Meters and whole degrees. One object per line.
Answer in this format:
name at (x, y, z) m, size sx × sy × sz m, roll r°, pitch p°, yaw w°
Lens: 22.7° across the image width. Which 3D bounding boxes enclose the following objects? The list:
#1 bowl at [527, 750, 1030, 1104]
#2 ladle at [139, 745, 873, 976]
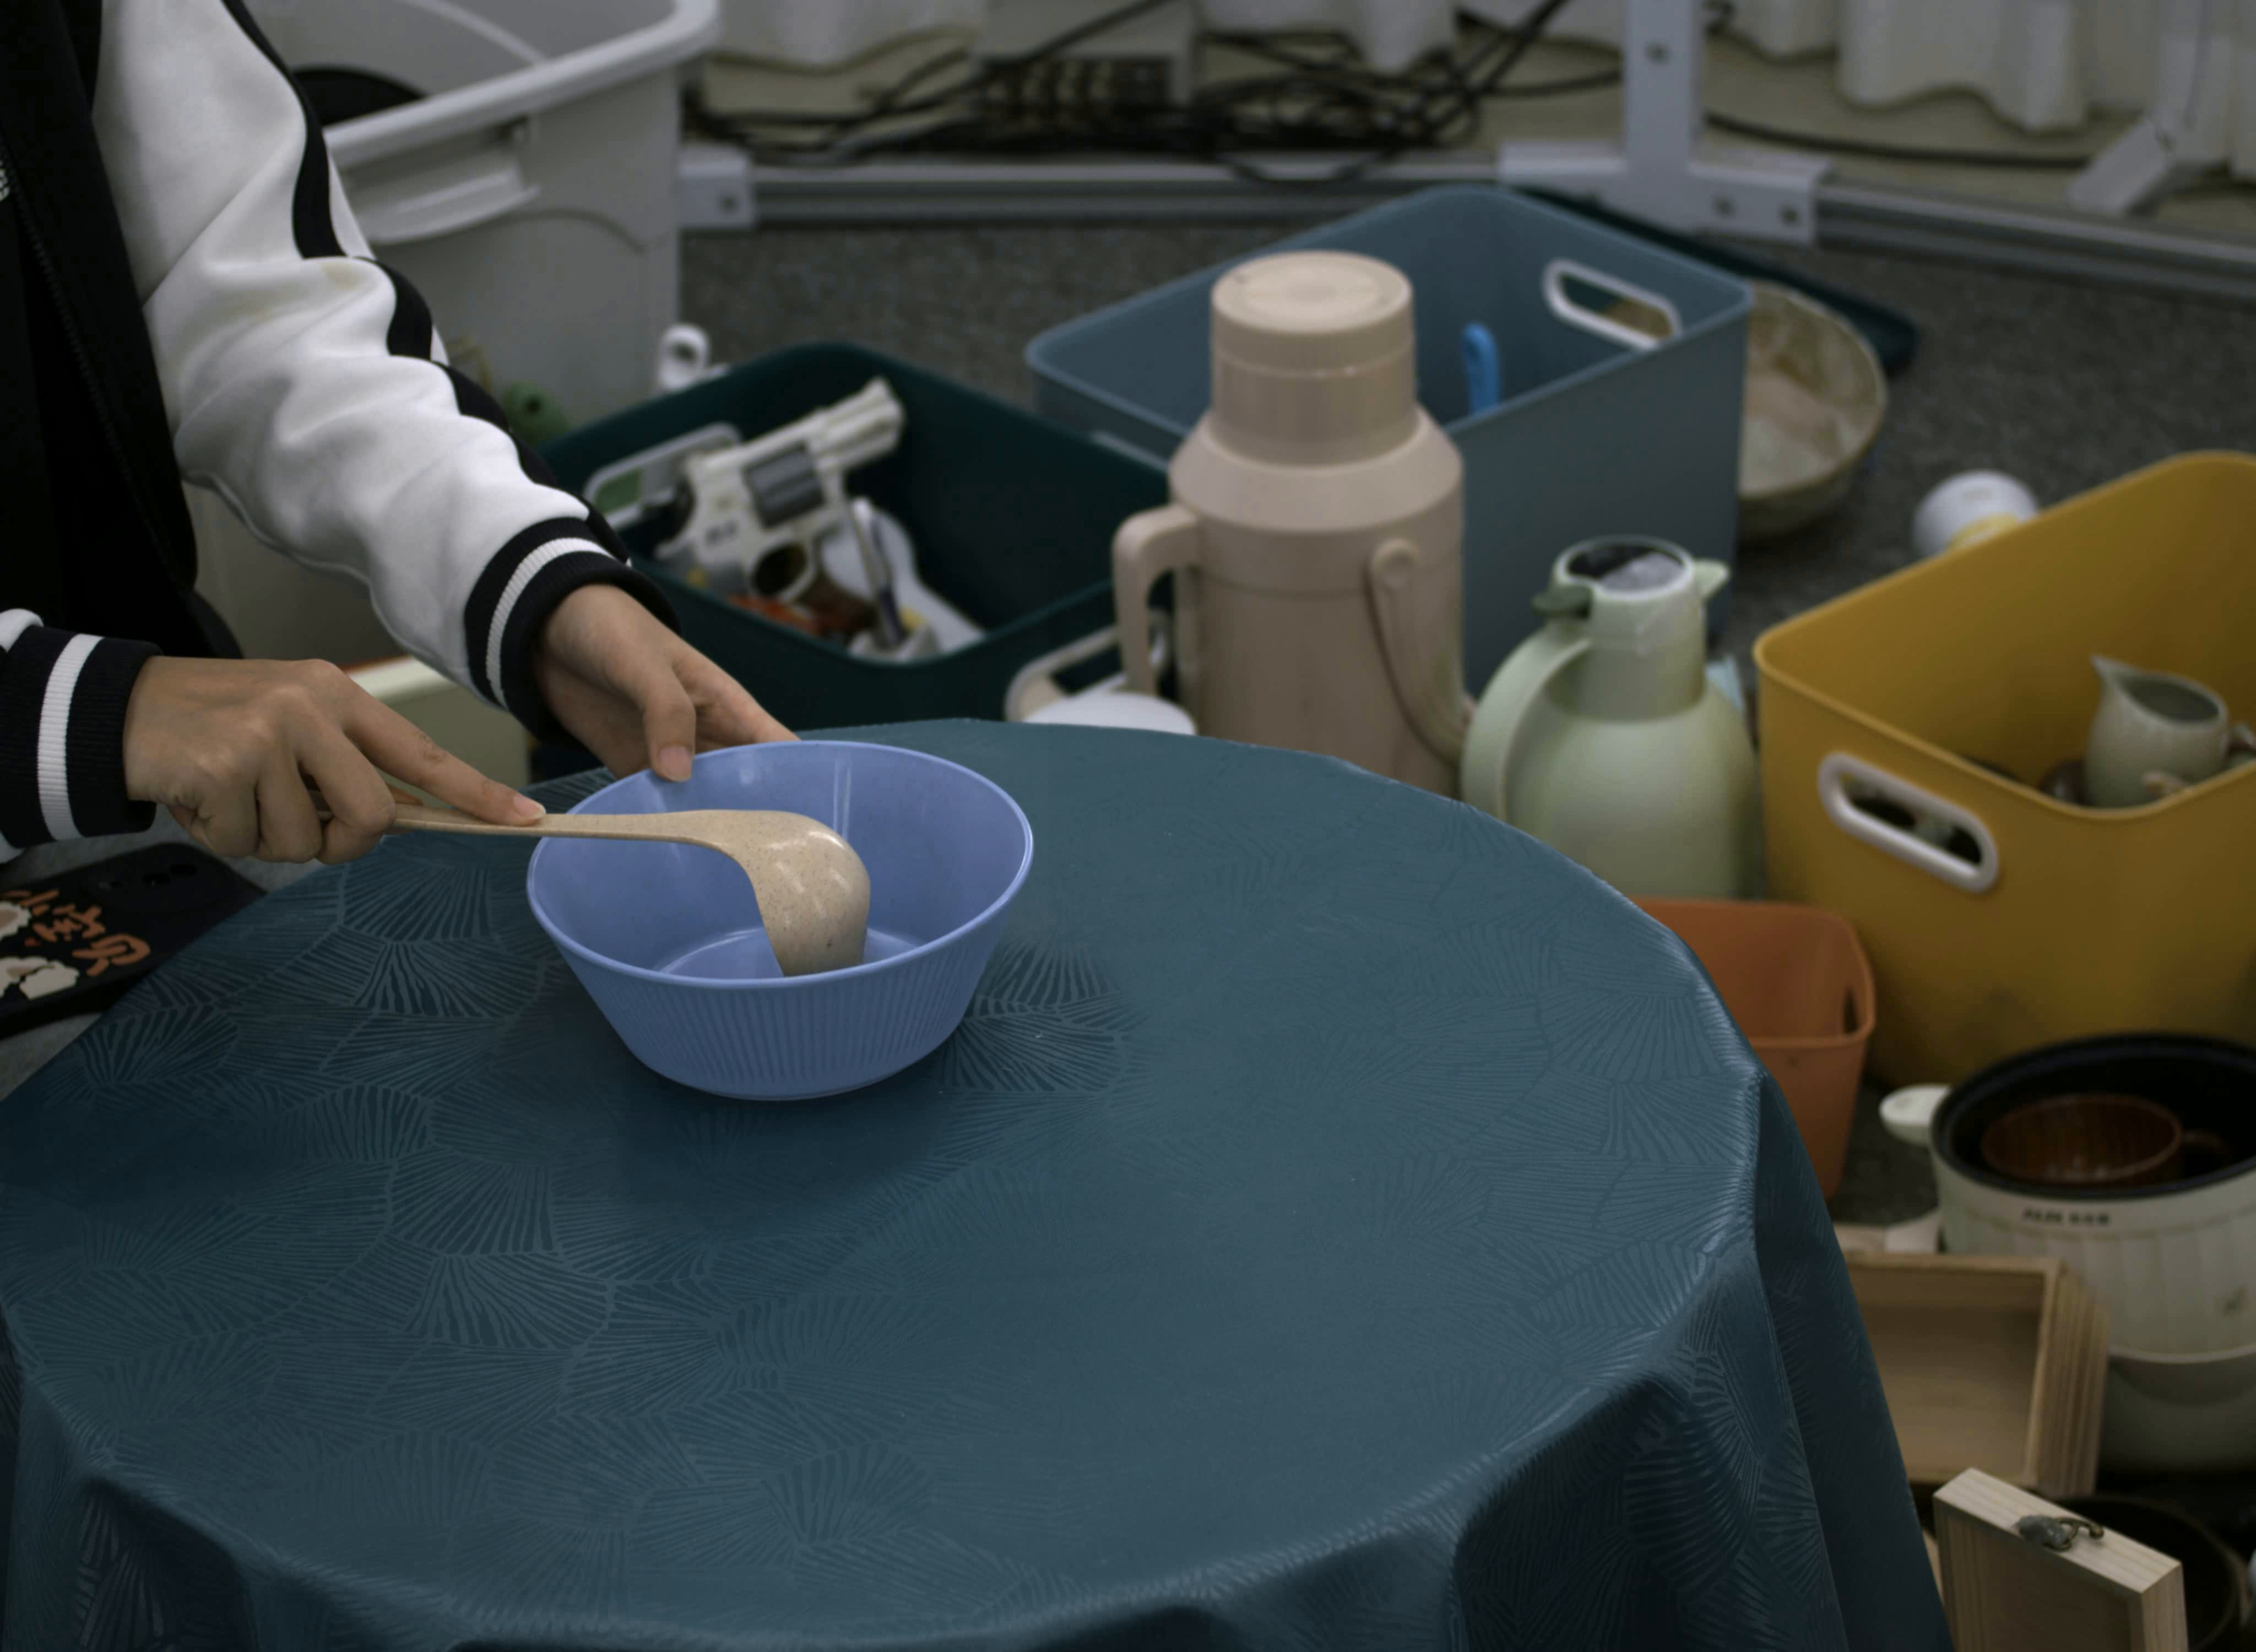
bowl at (-0.120, 0.041, 1.956) m, size 0.175 × 0.069 × 0.179 m, roll -1°, pitch 27°, yaw 1°
ladle at (-0.216, 0.021, 1.939) m, size 0.253 × 0.072 × 0.073 m, roll 6°, pitch 28°, yaw -6°
